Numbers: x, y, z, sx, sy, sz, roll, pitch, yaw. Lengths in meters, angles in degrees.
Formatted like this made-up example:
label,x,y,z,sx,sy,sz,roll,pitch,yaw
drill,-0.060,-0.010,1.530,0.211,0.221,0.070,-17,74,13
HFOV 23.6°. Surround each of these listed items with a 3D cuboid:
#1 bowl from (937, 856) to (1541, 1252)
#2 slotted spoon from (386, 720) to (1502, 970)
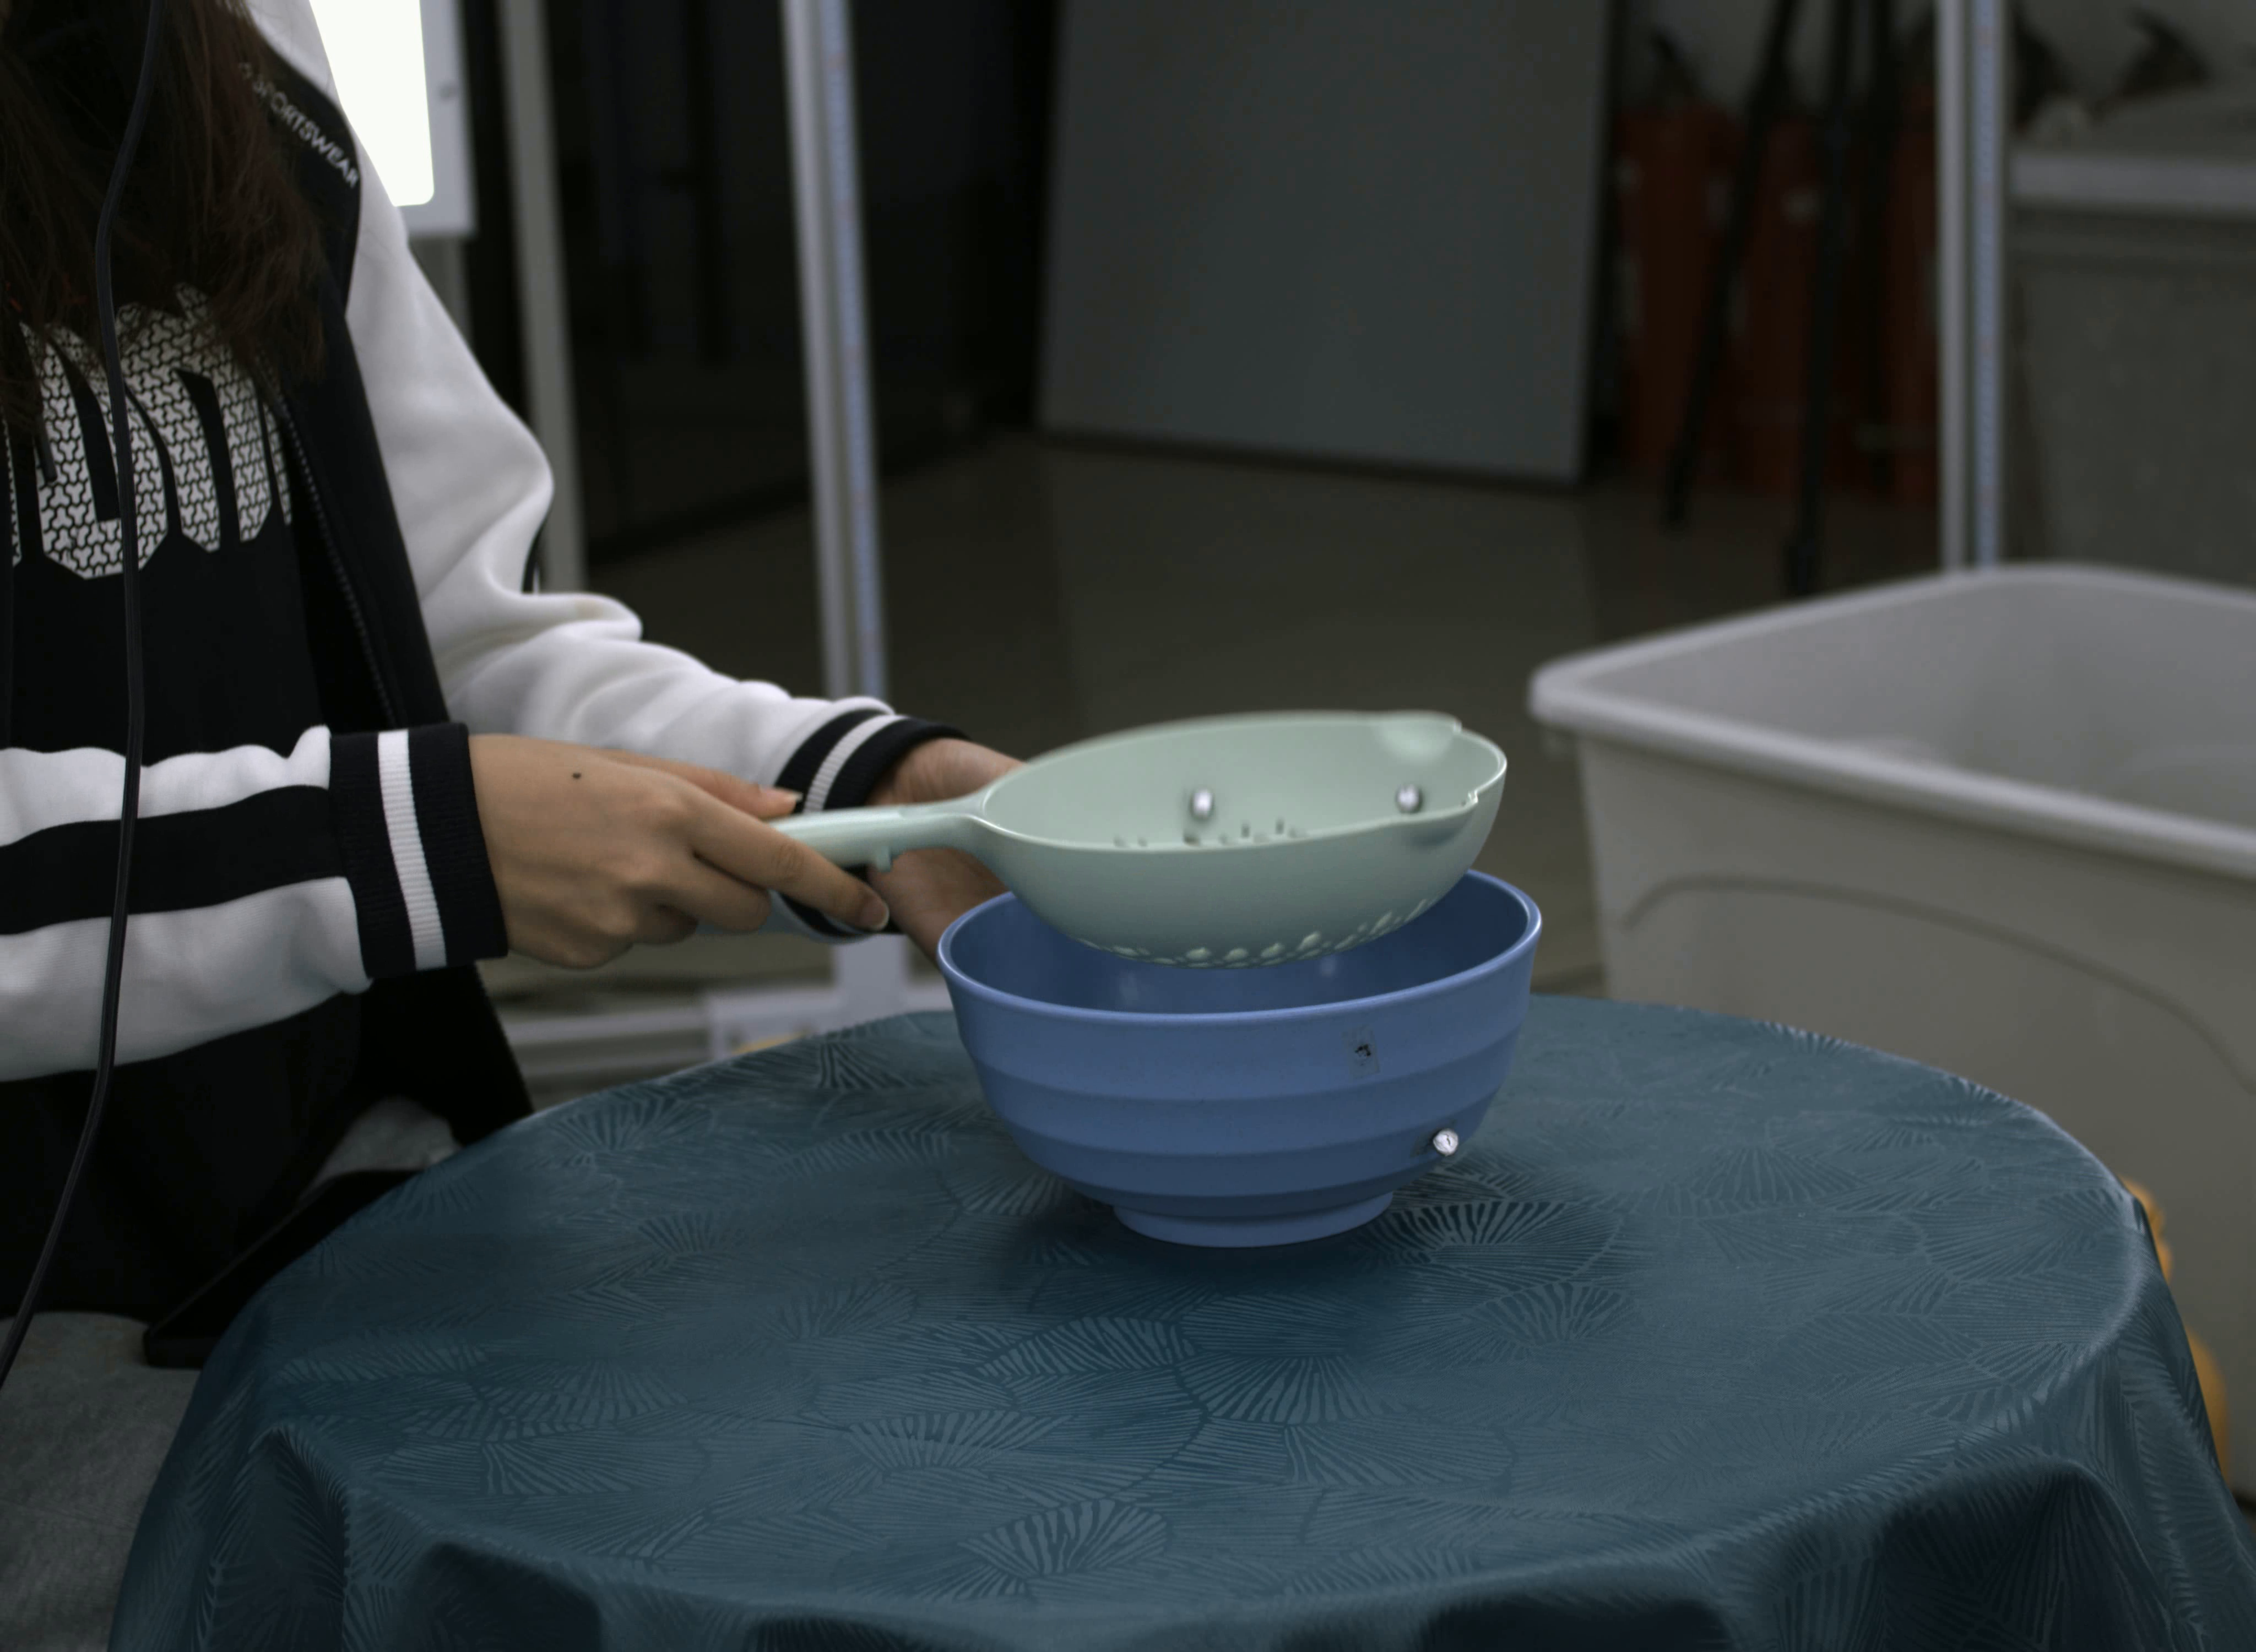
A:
label,x,y,z,sx,sy,sz,roll,pitch,yaw
bowl,0.038,0.077,1.737,0.194,0.096,0.197,-4,14,0
slotted spoon,-0.059,0.009,1.718,0.354,0.076,0.169,1,9,2
